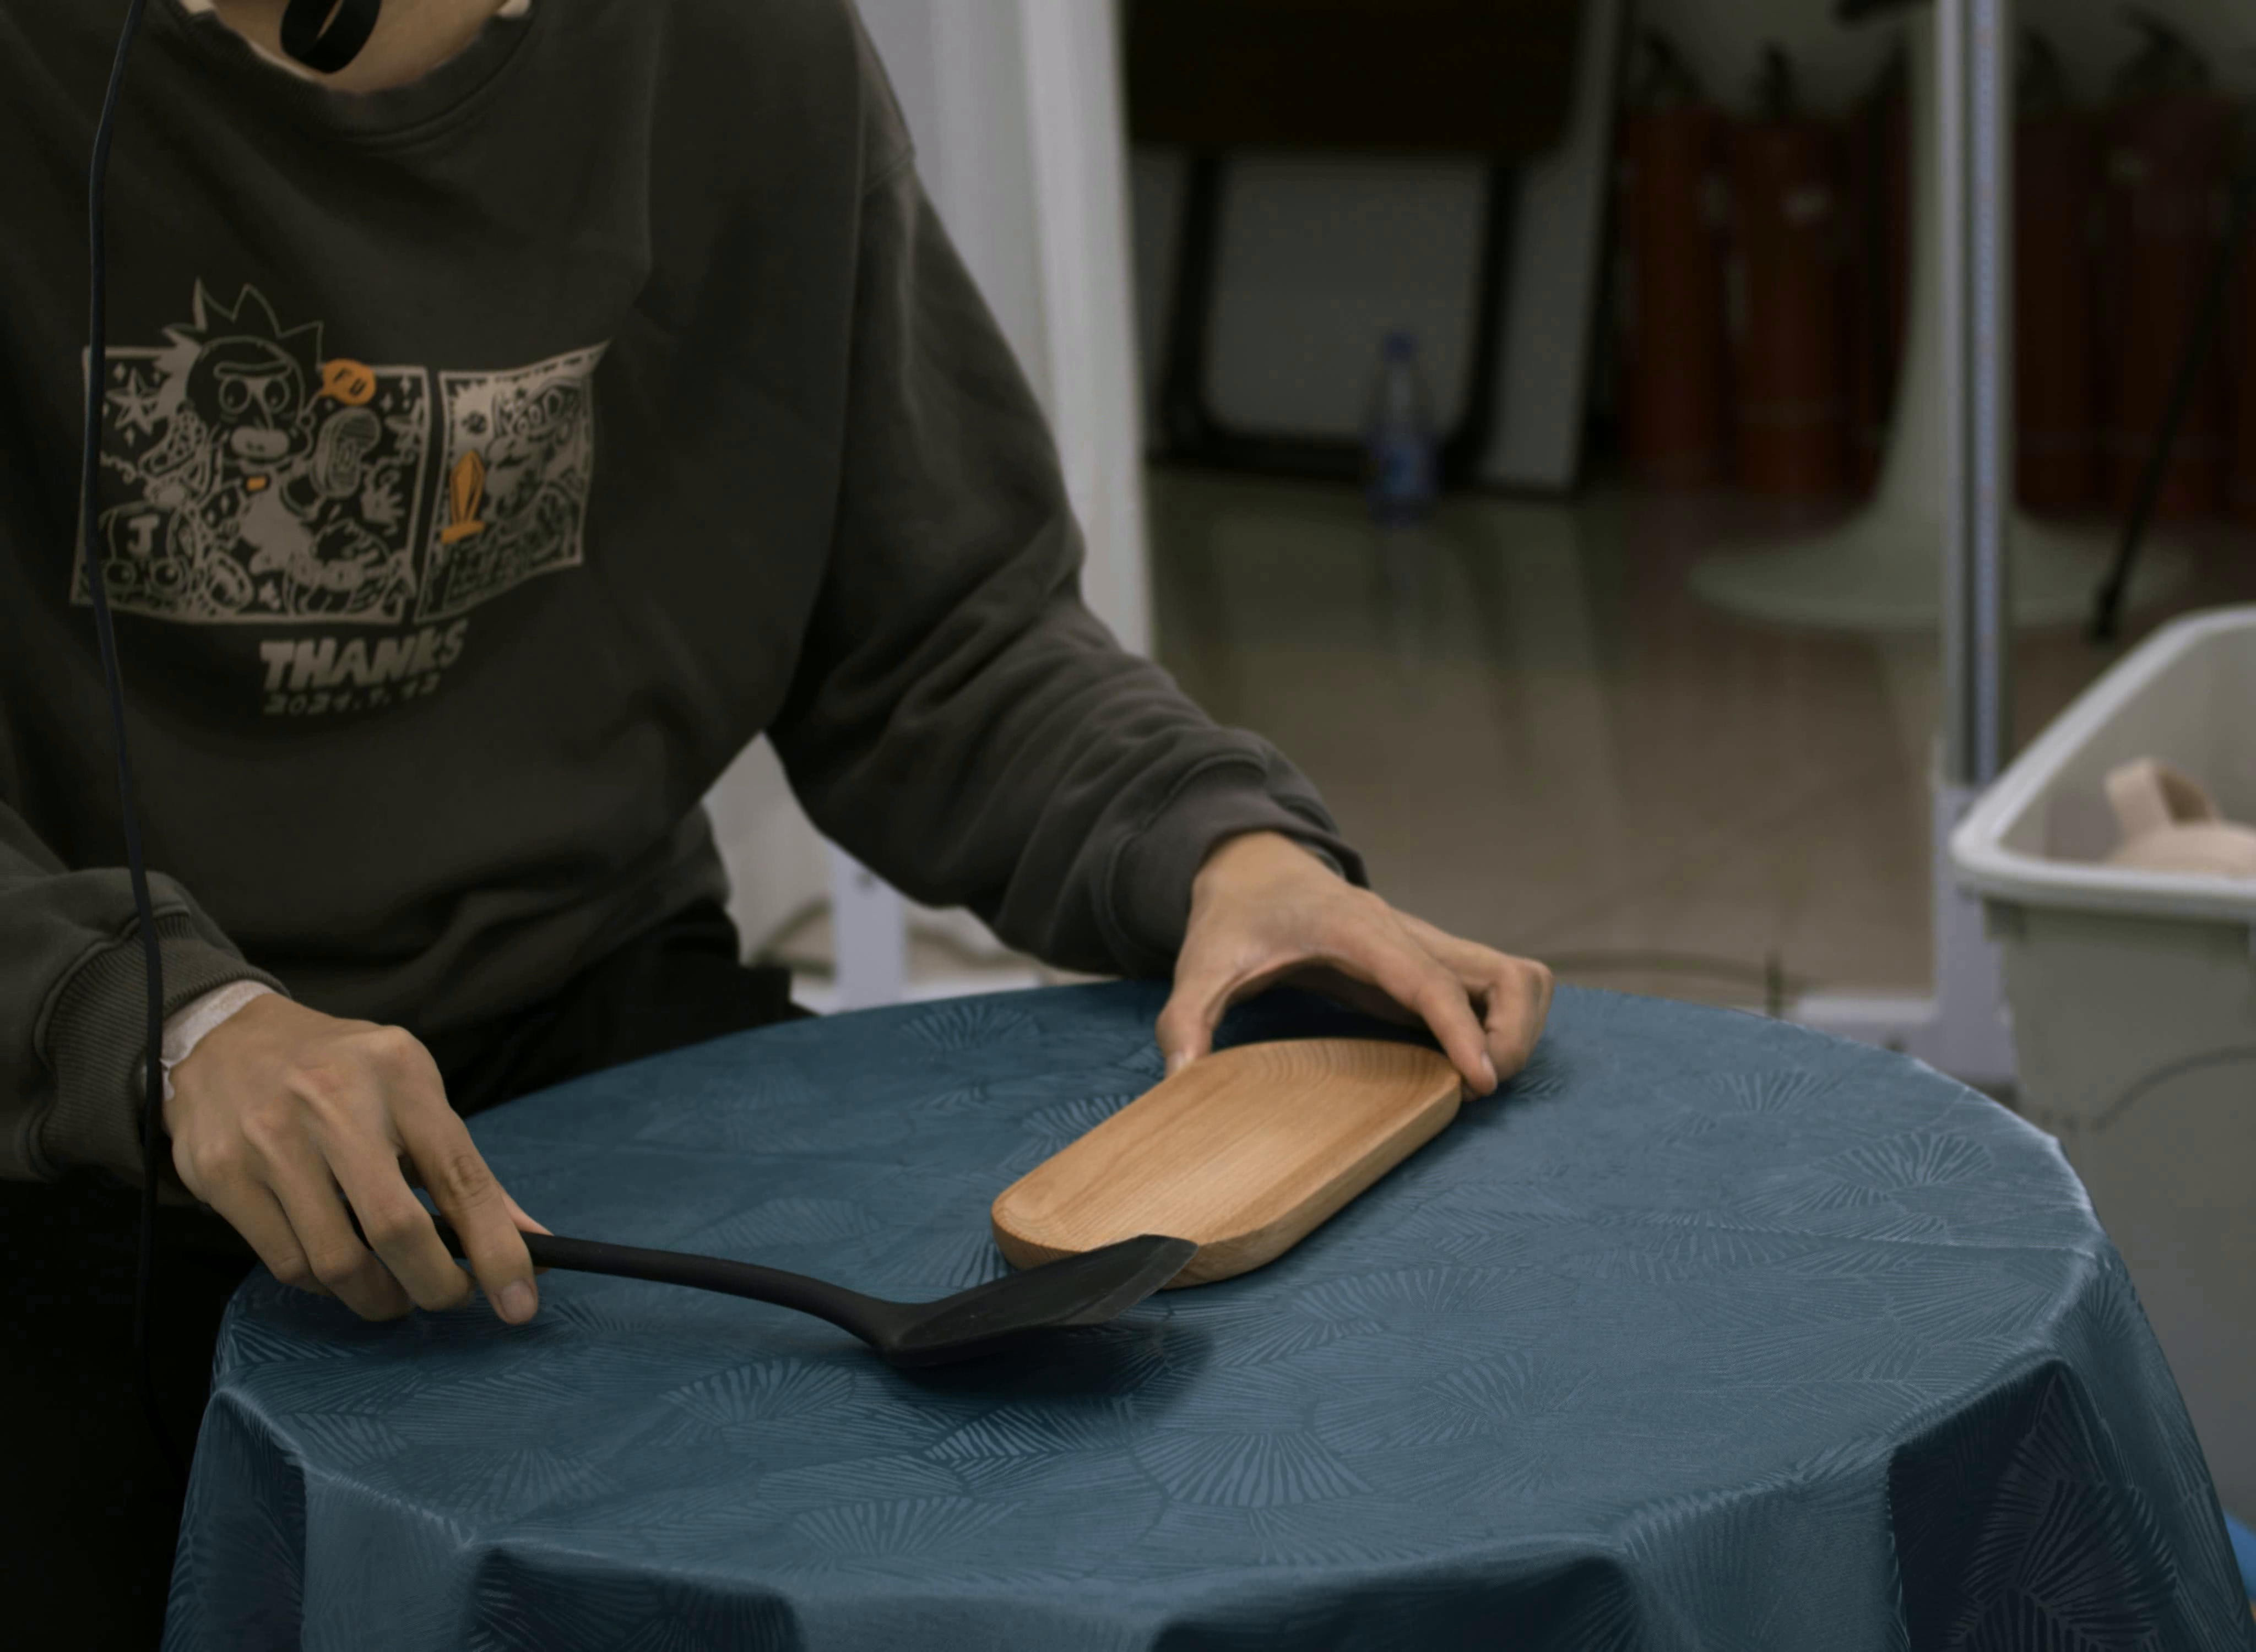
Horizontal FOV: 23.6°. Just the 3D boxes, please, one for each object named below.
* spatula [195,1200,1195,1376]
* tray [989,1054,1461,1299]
[{"bbox_3d":[-0.141,0.132,1.658,0.326,0.041,0.098,9,12,20],"label":"spatula"},{"bbox_3d":[0.035,0.113,1.768,0.102,0.020,0.228,2,16,27],"label":"tray"}]
